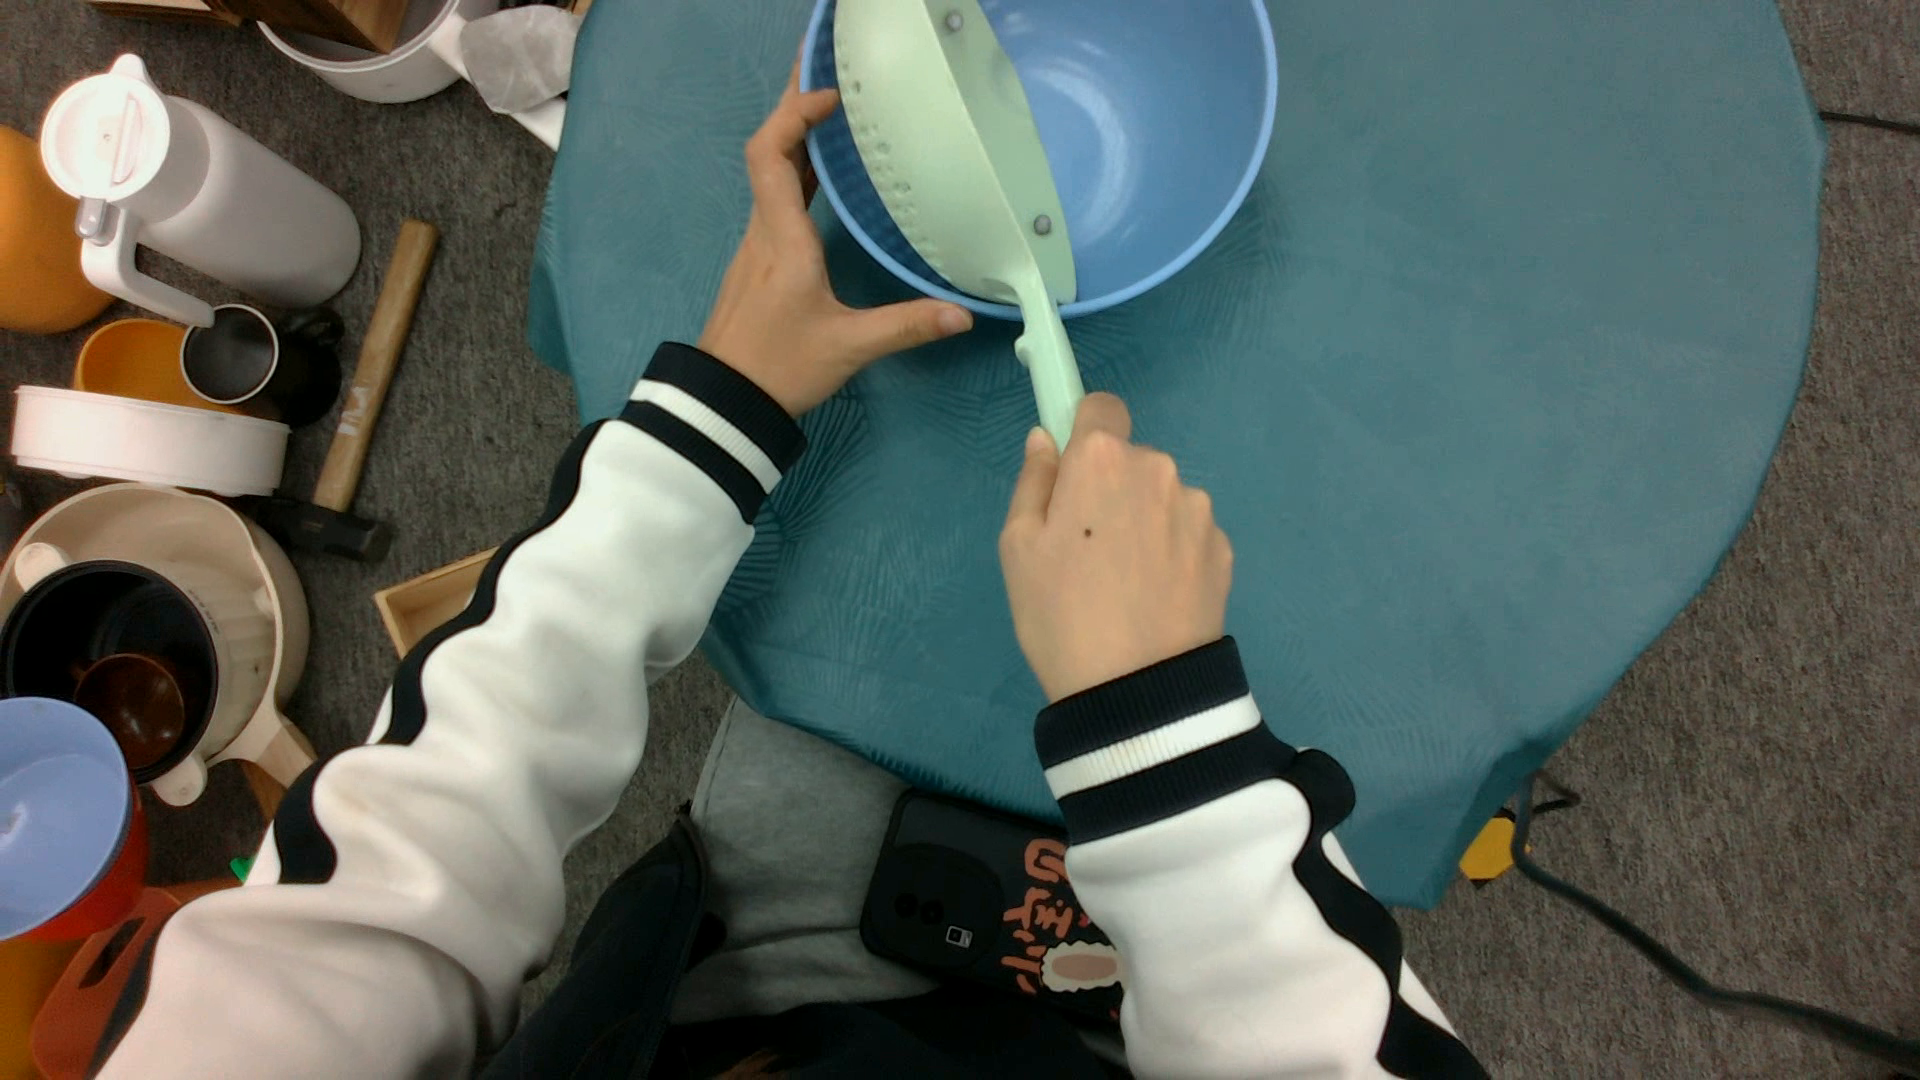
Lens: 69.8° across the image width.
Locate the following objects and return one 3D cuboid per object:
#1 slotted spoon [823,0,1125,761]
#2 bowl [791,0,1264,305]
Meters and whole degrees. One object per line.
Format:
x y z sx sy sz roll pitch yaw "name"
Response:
0.016 -0.093 0.534 0.075 0.169 0.360 -27 63 13 "slotted spoon"
0.029 -0.190 0.615 0.196 0.095 0.196 0 84 2 "bowl"
